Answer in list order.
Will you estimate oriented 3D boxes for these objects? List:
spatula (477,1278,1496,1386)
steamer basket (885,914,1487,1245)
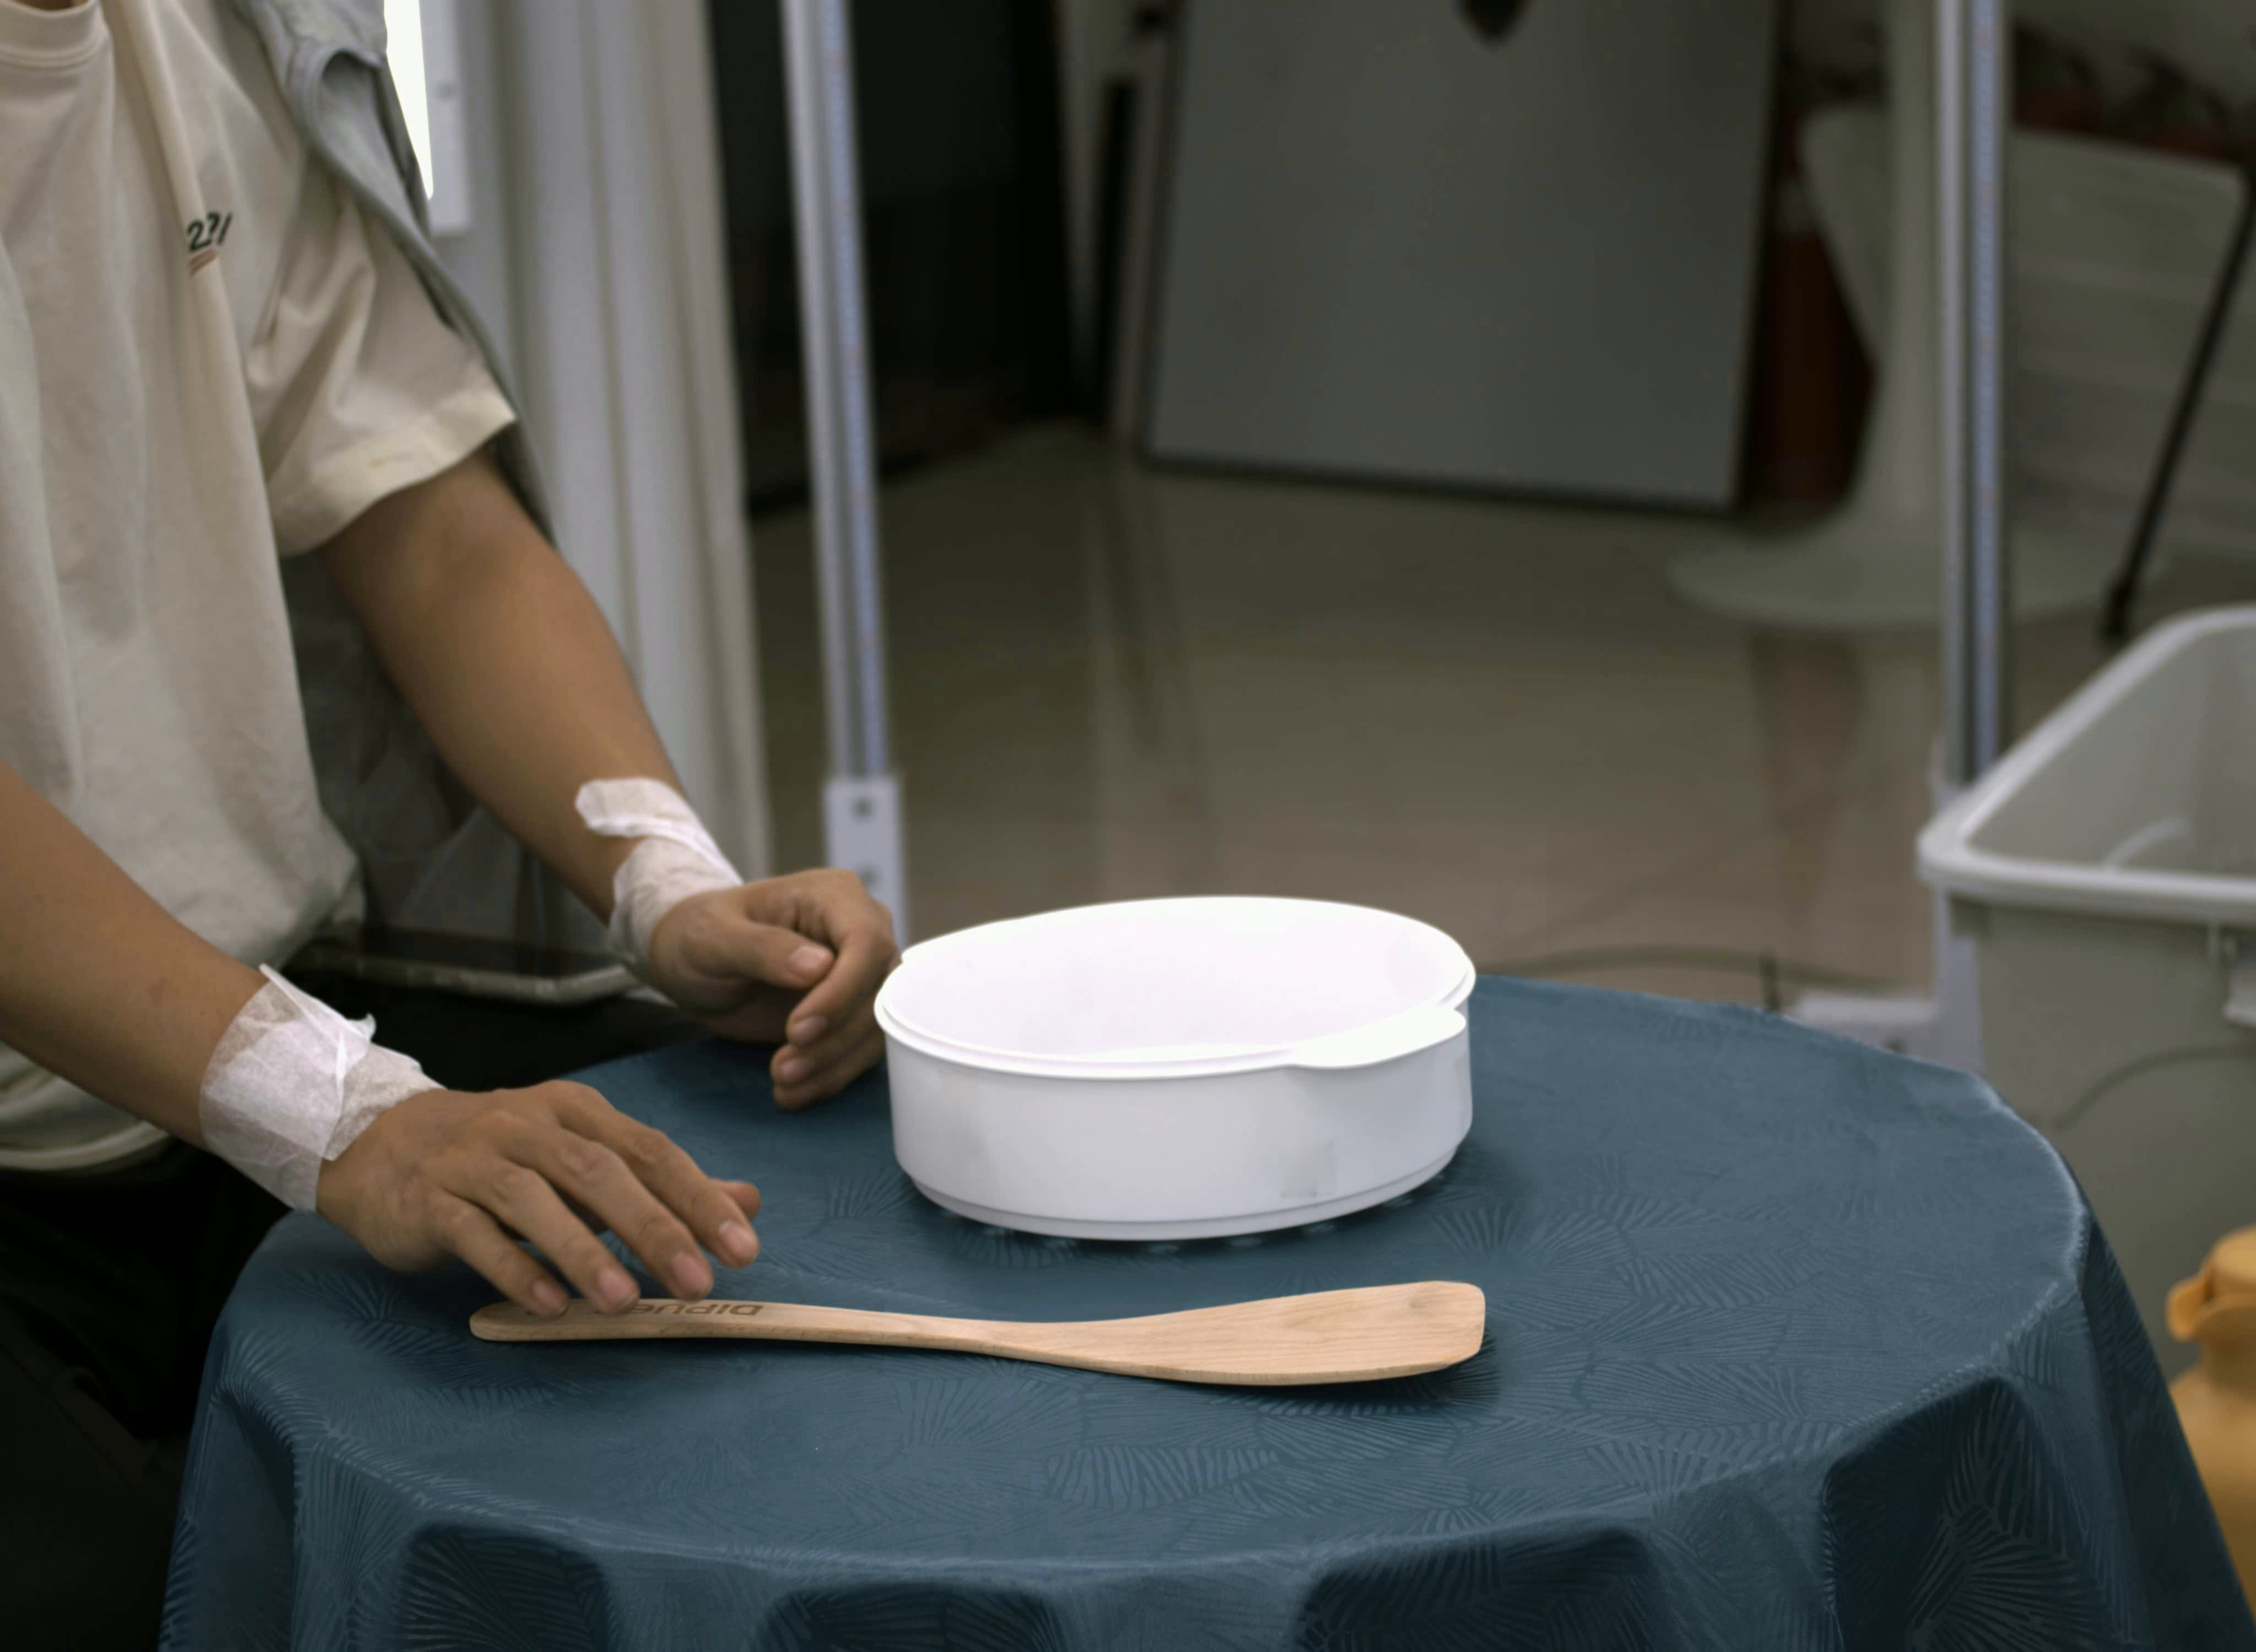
[{"bbox_3d":[-0.044,0.151,1.630,0.326,0.017,0.079,0,13,16],"label":"spatula"},{"bbox_3d":[0.021,0.084,1.784,0.197,0.070,0.233,-14,16,-39],"label":"steamer basket"}]
